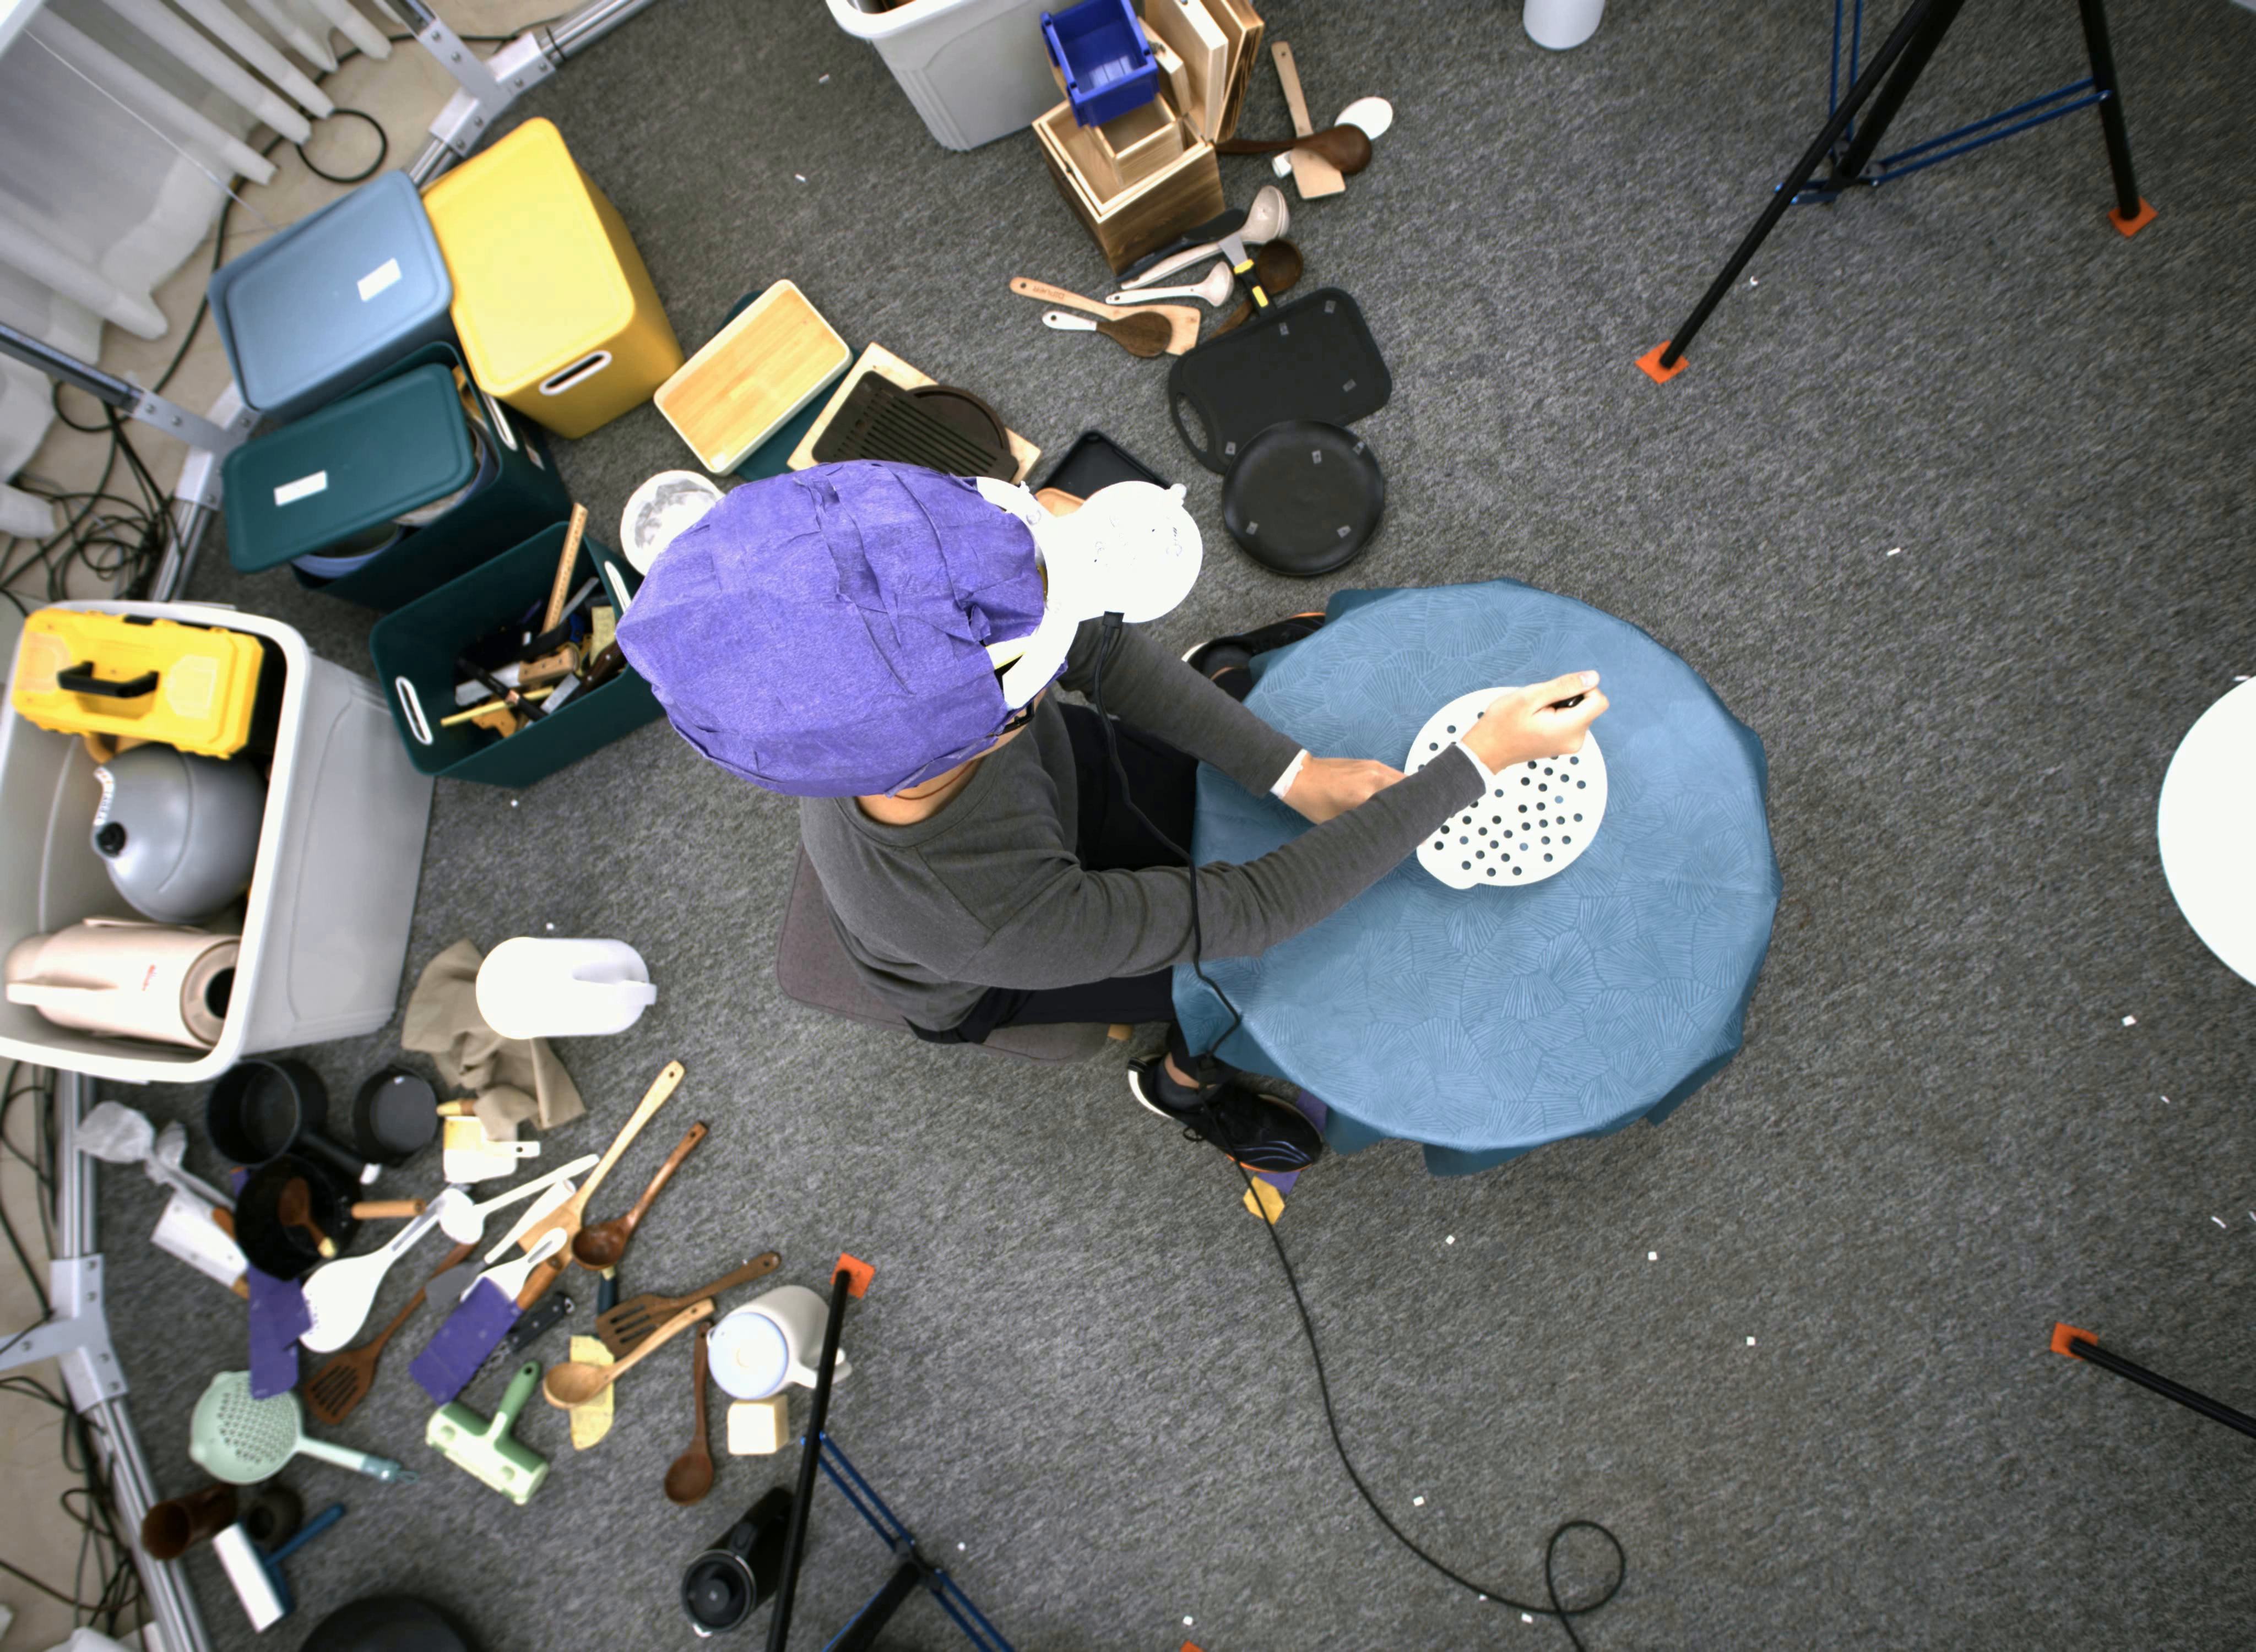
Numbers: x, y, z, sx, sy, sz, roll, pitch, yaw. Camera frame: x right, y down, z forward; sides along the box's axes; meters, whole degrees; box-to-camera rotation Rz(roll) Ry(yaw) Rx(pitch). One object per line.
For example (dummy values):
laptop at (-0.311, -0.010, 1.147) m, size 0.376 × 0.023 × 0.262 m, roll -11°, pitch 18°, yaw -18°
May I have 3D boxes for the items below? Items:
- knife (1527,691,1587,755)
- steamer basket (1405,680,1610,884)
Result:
knife at (0.403, -0.094, 1.310) m, size 0.024 × 0.239 × 0.016 m, roll -42°, pitch 80°, yaw -2°
steamer basket at (0.387, -0.044, 1.410) m, size 0.201 × 0.069 × 0.231 m, roll 38°, pitch 95°, yaw 11°
